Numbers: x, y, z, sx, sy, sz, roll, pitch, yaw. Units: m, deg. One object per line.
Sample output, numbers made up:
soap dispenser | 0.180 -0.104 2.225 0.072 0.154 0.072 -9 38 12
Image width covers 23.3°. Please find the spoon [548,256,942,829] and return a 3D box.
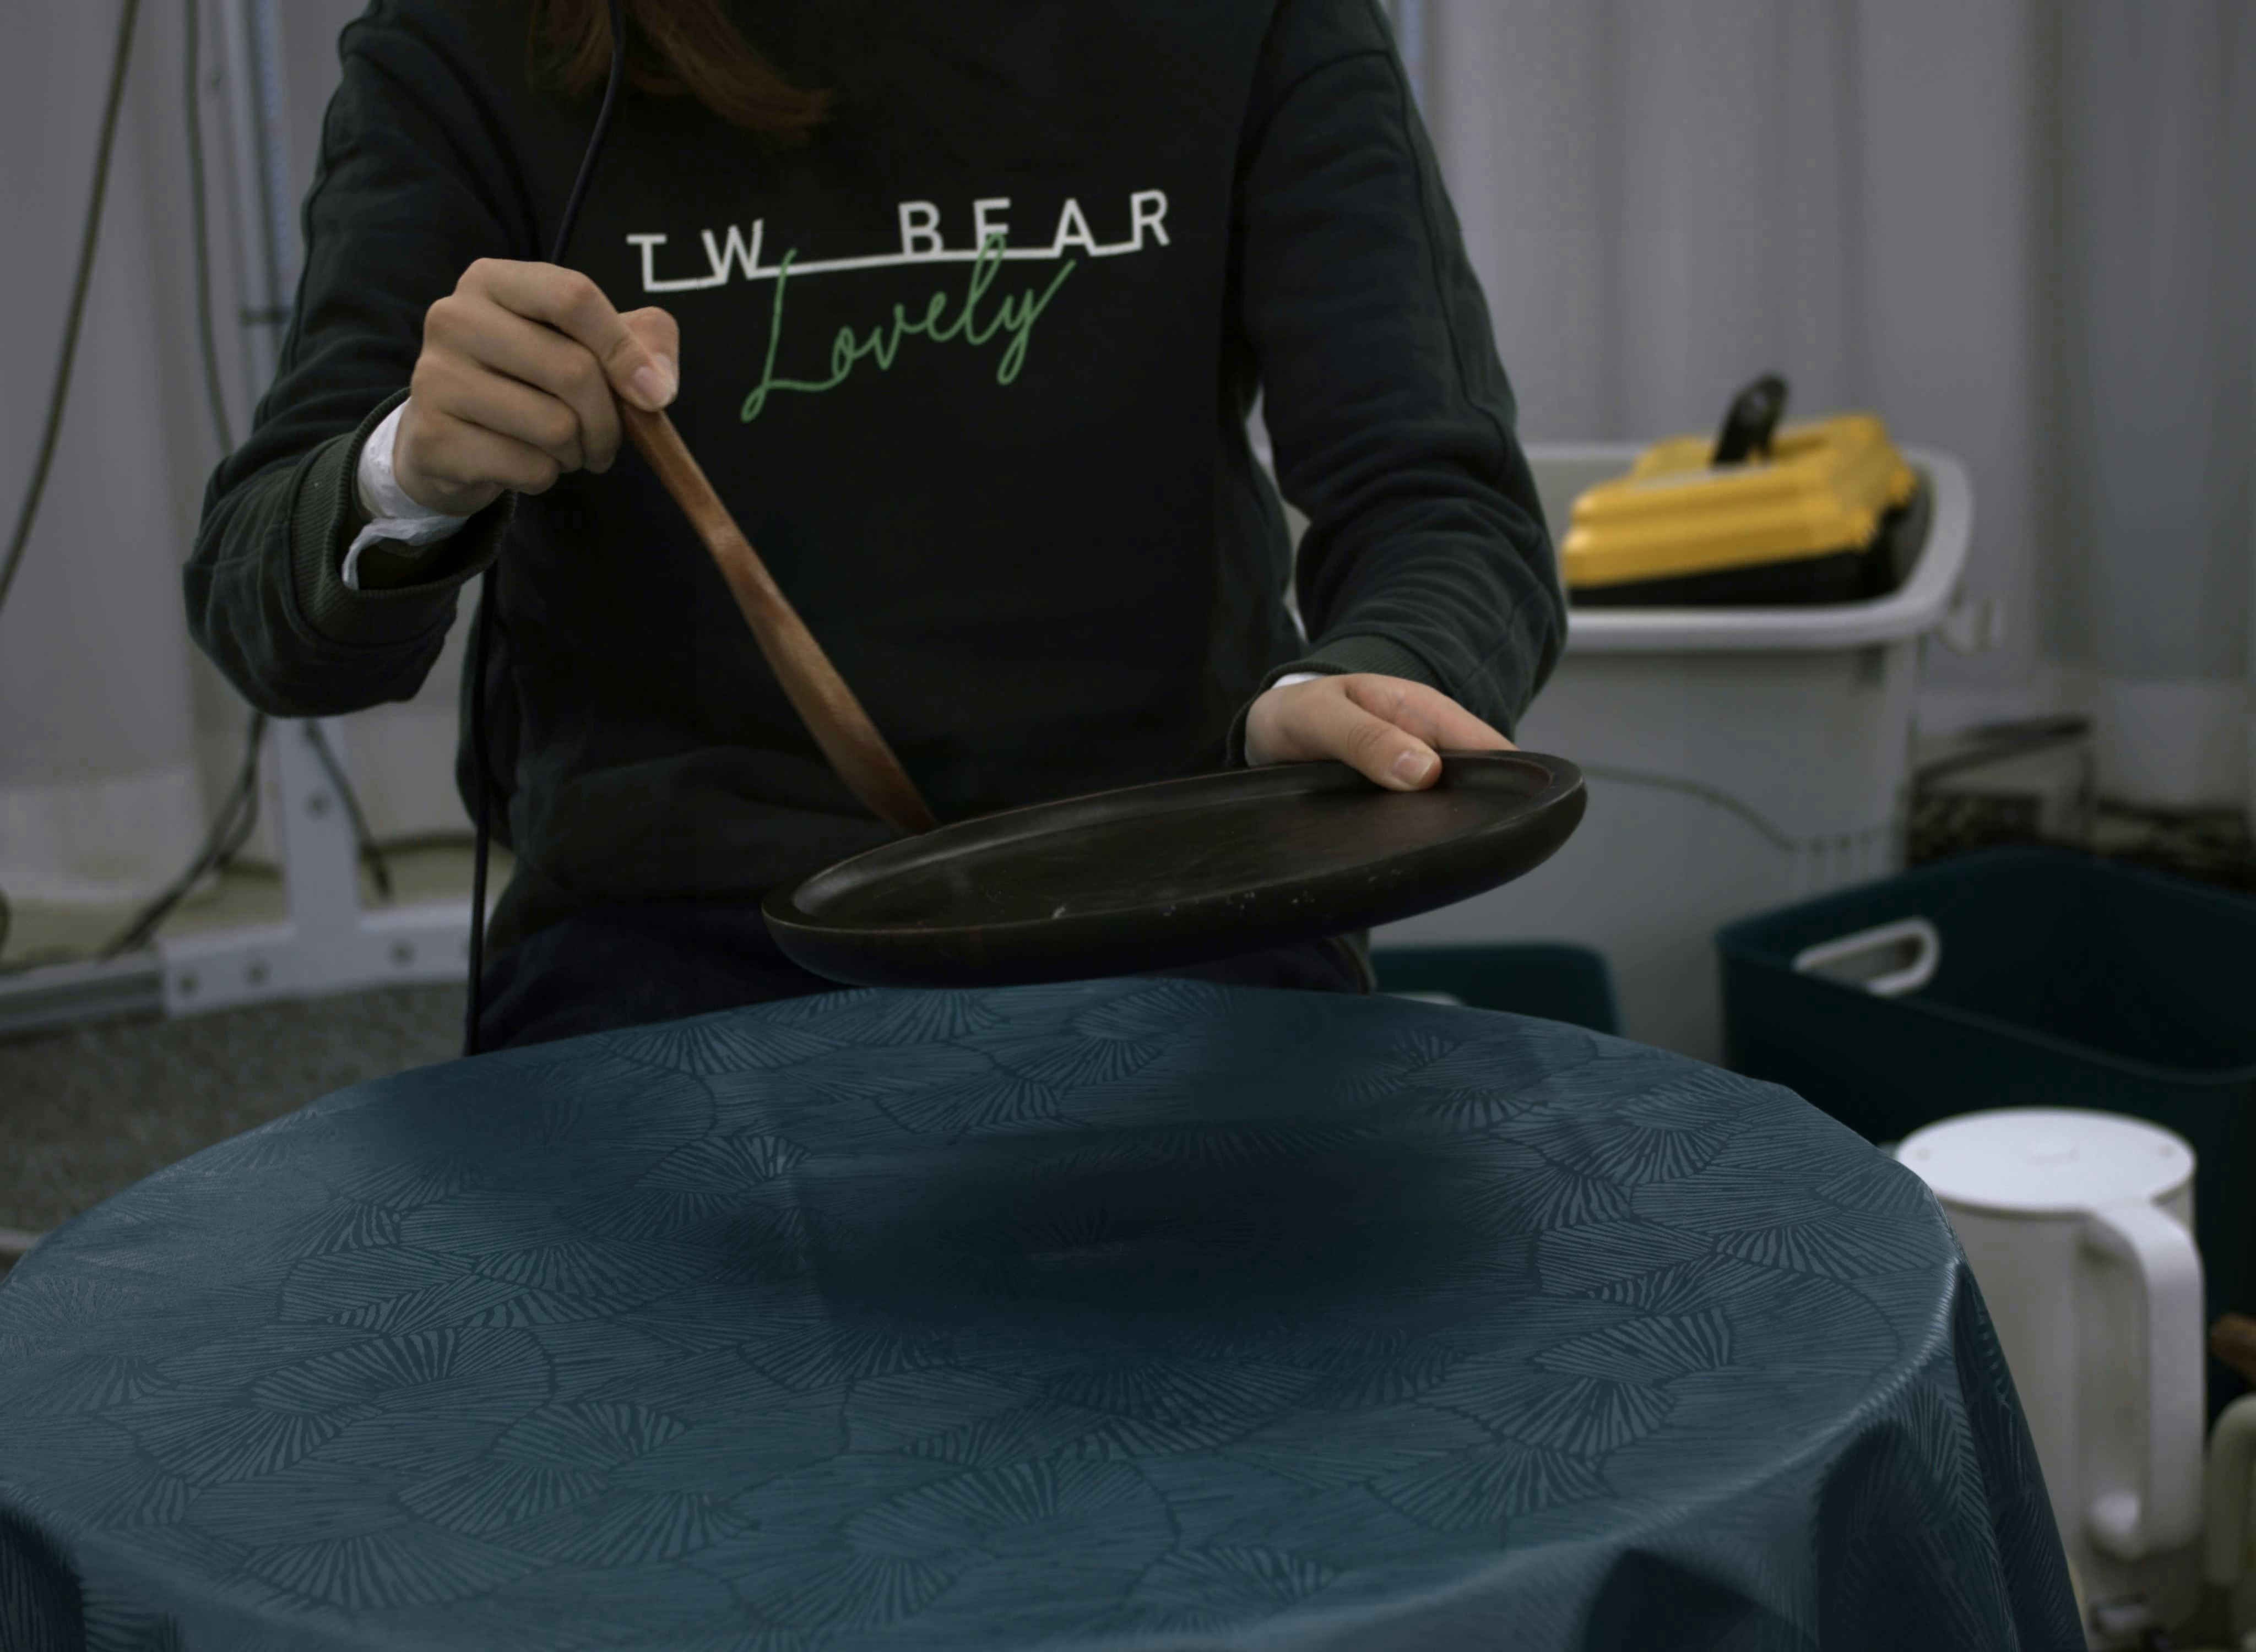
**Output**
spoon | -0.119 -0.086 1.681 0.017 0.217 0.075 -33 -15 -1

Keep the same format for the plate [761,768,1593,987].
plate | 0.015 0.013 1.656 0.254 0.029 0.256 -8 9 1
